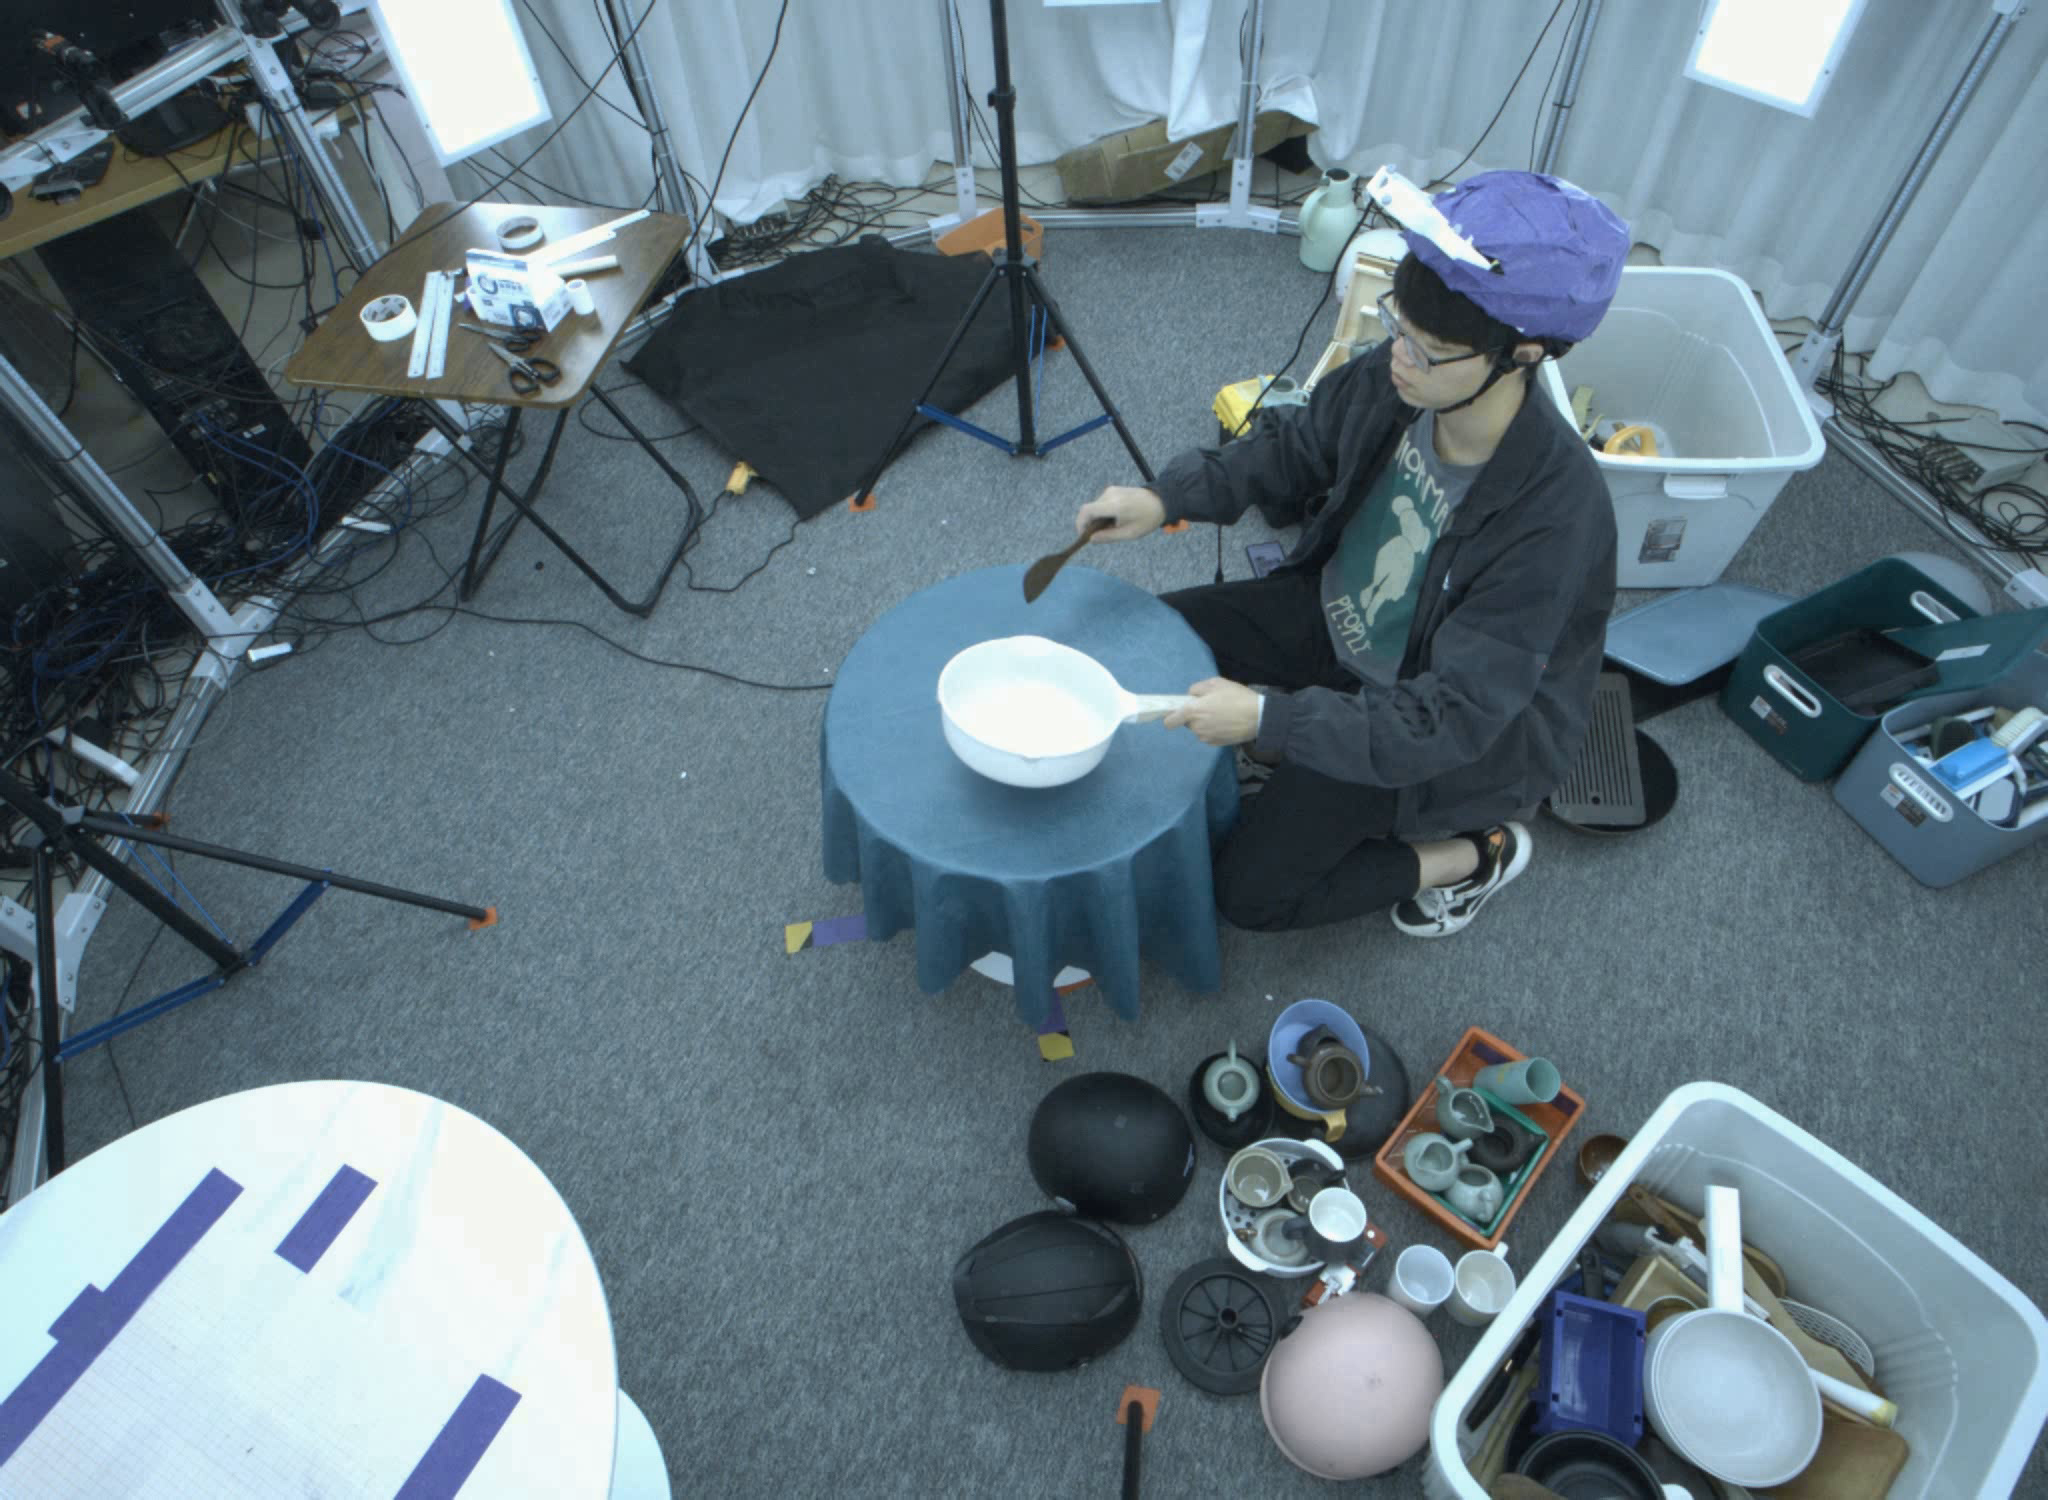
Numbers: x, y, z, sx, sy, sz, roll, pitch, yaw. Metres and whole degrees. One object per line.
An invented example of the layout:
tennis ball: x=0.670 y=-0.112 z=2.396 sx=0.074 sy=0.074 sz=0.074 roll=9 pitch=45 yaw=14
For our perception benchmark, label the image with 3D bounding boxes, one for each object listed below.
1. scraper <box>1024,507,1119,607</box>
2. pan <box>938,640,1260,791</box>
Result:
scraper: x=0.072 y=-0.301 z=1.869 sx=0.010 sy=0.077 sz=0.212 roll=38 pitch=70 yaw=25
pan: x=0.099 y=-0.040 z=1.672 sx=0.437 sy=0.102 sz=0.260 roll=5 pitch=40 yaw=-7
